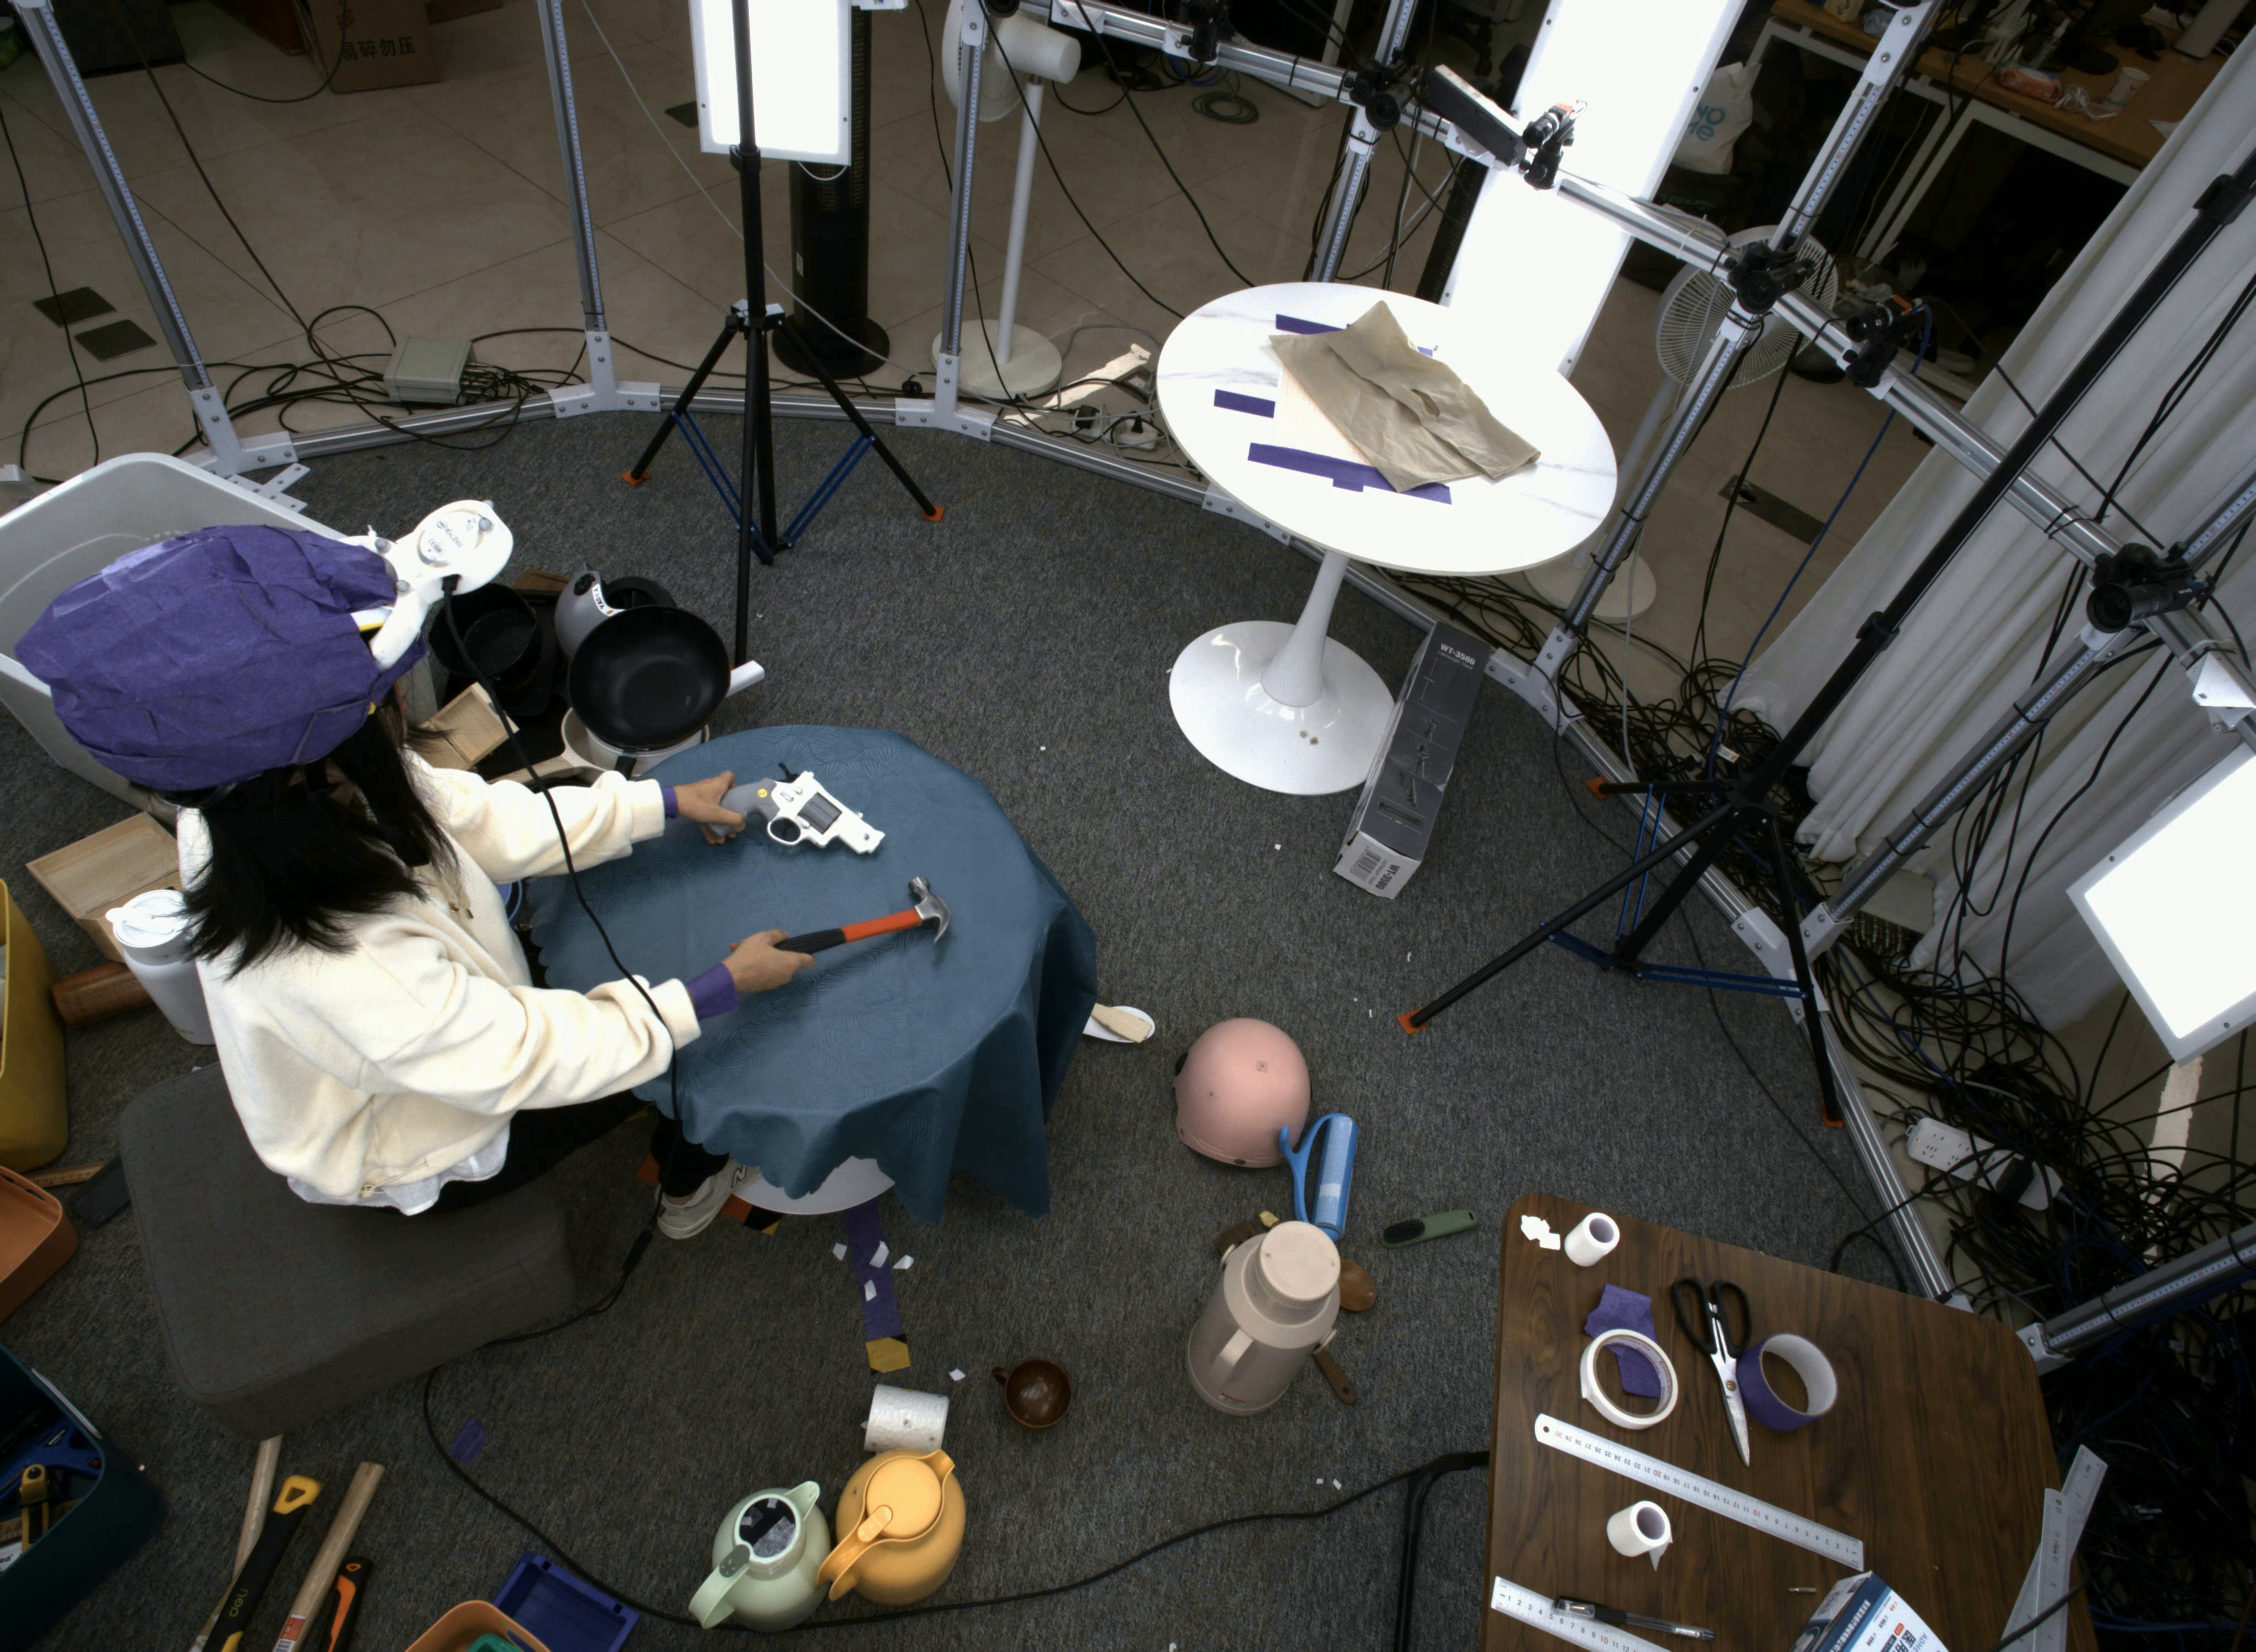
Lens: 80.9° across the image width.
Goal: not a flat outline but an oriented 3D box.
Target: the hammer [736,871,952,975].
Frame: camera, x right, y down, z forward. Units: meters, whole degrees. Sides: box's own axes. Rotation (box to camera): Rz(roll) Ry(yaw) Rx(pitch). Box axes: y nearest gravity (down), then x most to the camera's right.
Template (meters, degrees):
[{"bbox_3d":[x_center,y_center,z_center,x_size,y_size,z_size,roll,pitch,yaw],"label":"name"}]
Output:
[{"bbox_3d":[-0.344,0.132,1.592,0.280,0.026,0.109,-14,65,-35],"label":"hammer"}]

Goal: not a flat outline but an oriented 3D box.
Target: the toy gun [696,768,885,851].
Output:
[{"bbox_3d":[-0.439,-0.004,1.682,0.210,0.038,0.141,37,69,-8],"label":"toy gun"}]
